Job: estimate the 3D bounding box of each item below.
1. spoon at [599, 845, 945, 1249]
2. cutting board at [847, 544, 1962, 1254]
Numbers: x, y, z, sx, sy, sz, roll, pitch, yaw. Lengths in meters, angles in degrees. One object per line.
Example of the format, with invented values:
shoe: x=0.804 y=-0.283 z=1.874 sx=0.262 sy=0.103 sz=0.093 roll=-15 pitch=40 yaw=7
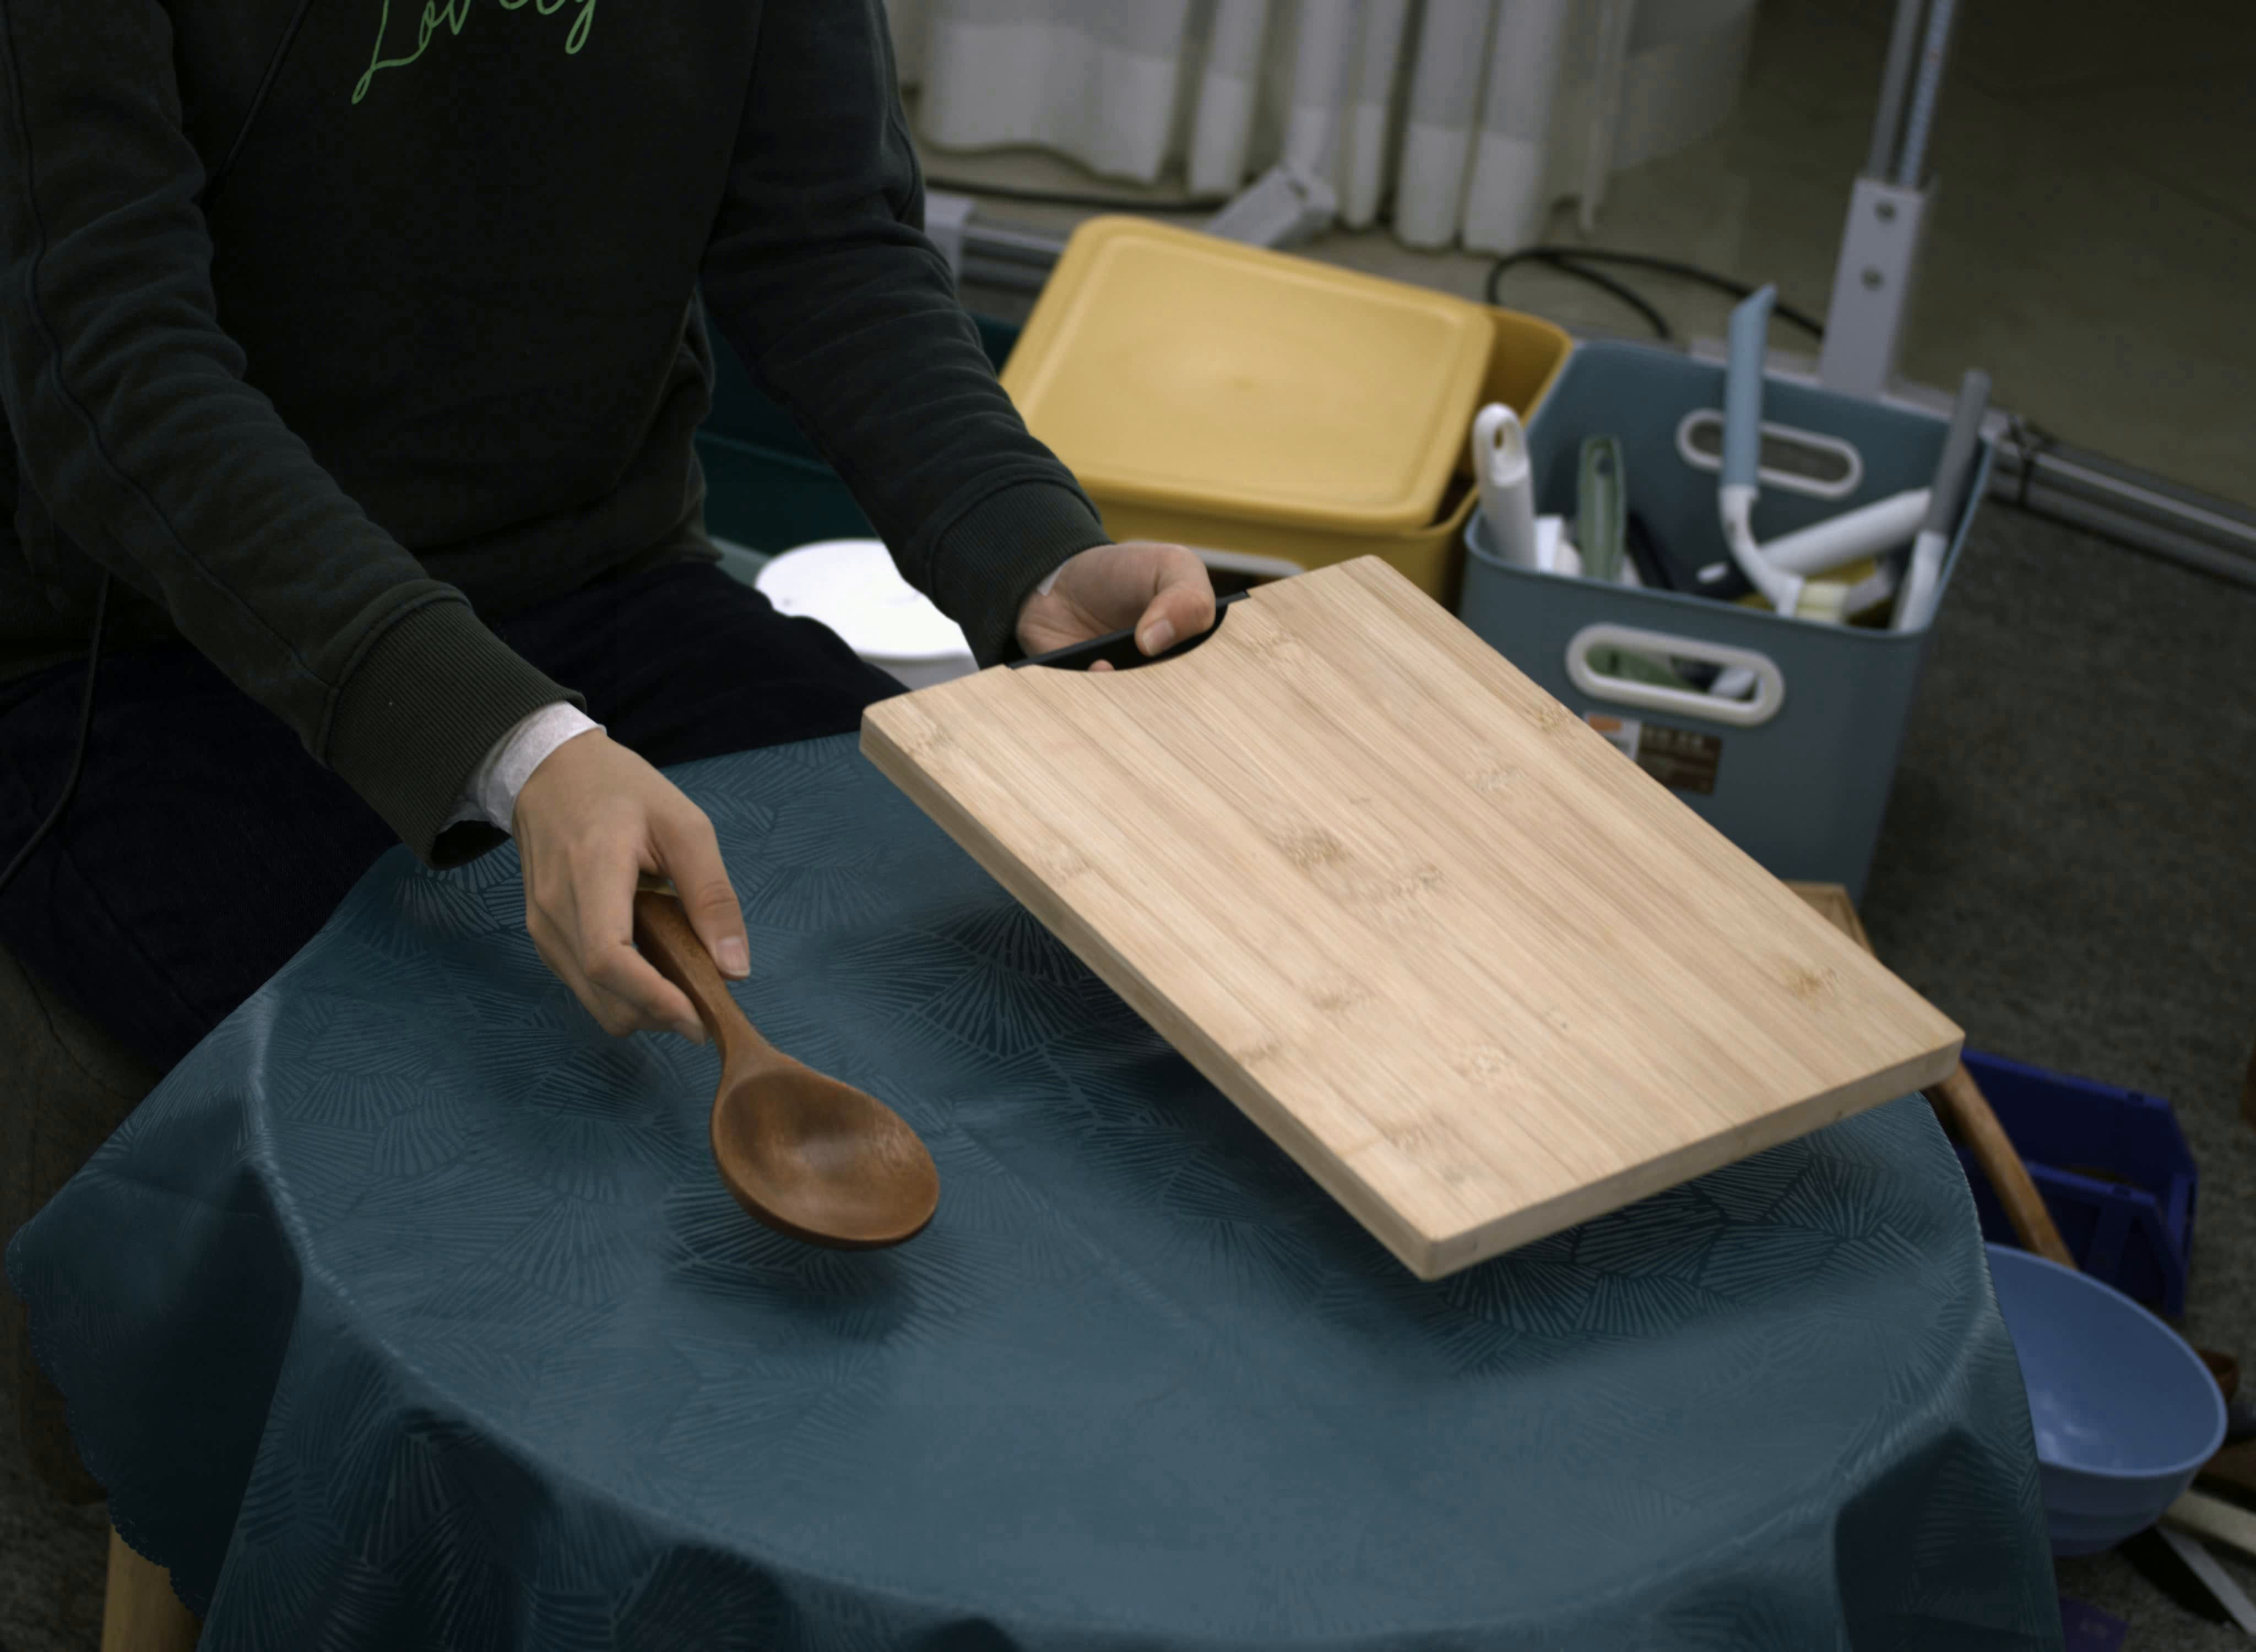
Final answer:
spoon: x=-0.128 y=0.074 z=1.780 sx=0.075 sy=0.017 sz=0.218 roll=-8 pitch=39 yaw=-28
cutting board: x=0.092 y=0.017 z=1.891 sx=0.249 sy=0.023 sz=0.352 roll=-18 pitch=41 yaw=-33
